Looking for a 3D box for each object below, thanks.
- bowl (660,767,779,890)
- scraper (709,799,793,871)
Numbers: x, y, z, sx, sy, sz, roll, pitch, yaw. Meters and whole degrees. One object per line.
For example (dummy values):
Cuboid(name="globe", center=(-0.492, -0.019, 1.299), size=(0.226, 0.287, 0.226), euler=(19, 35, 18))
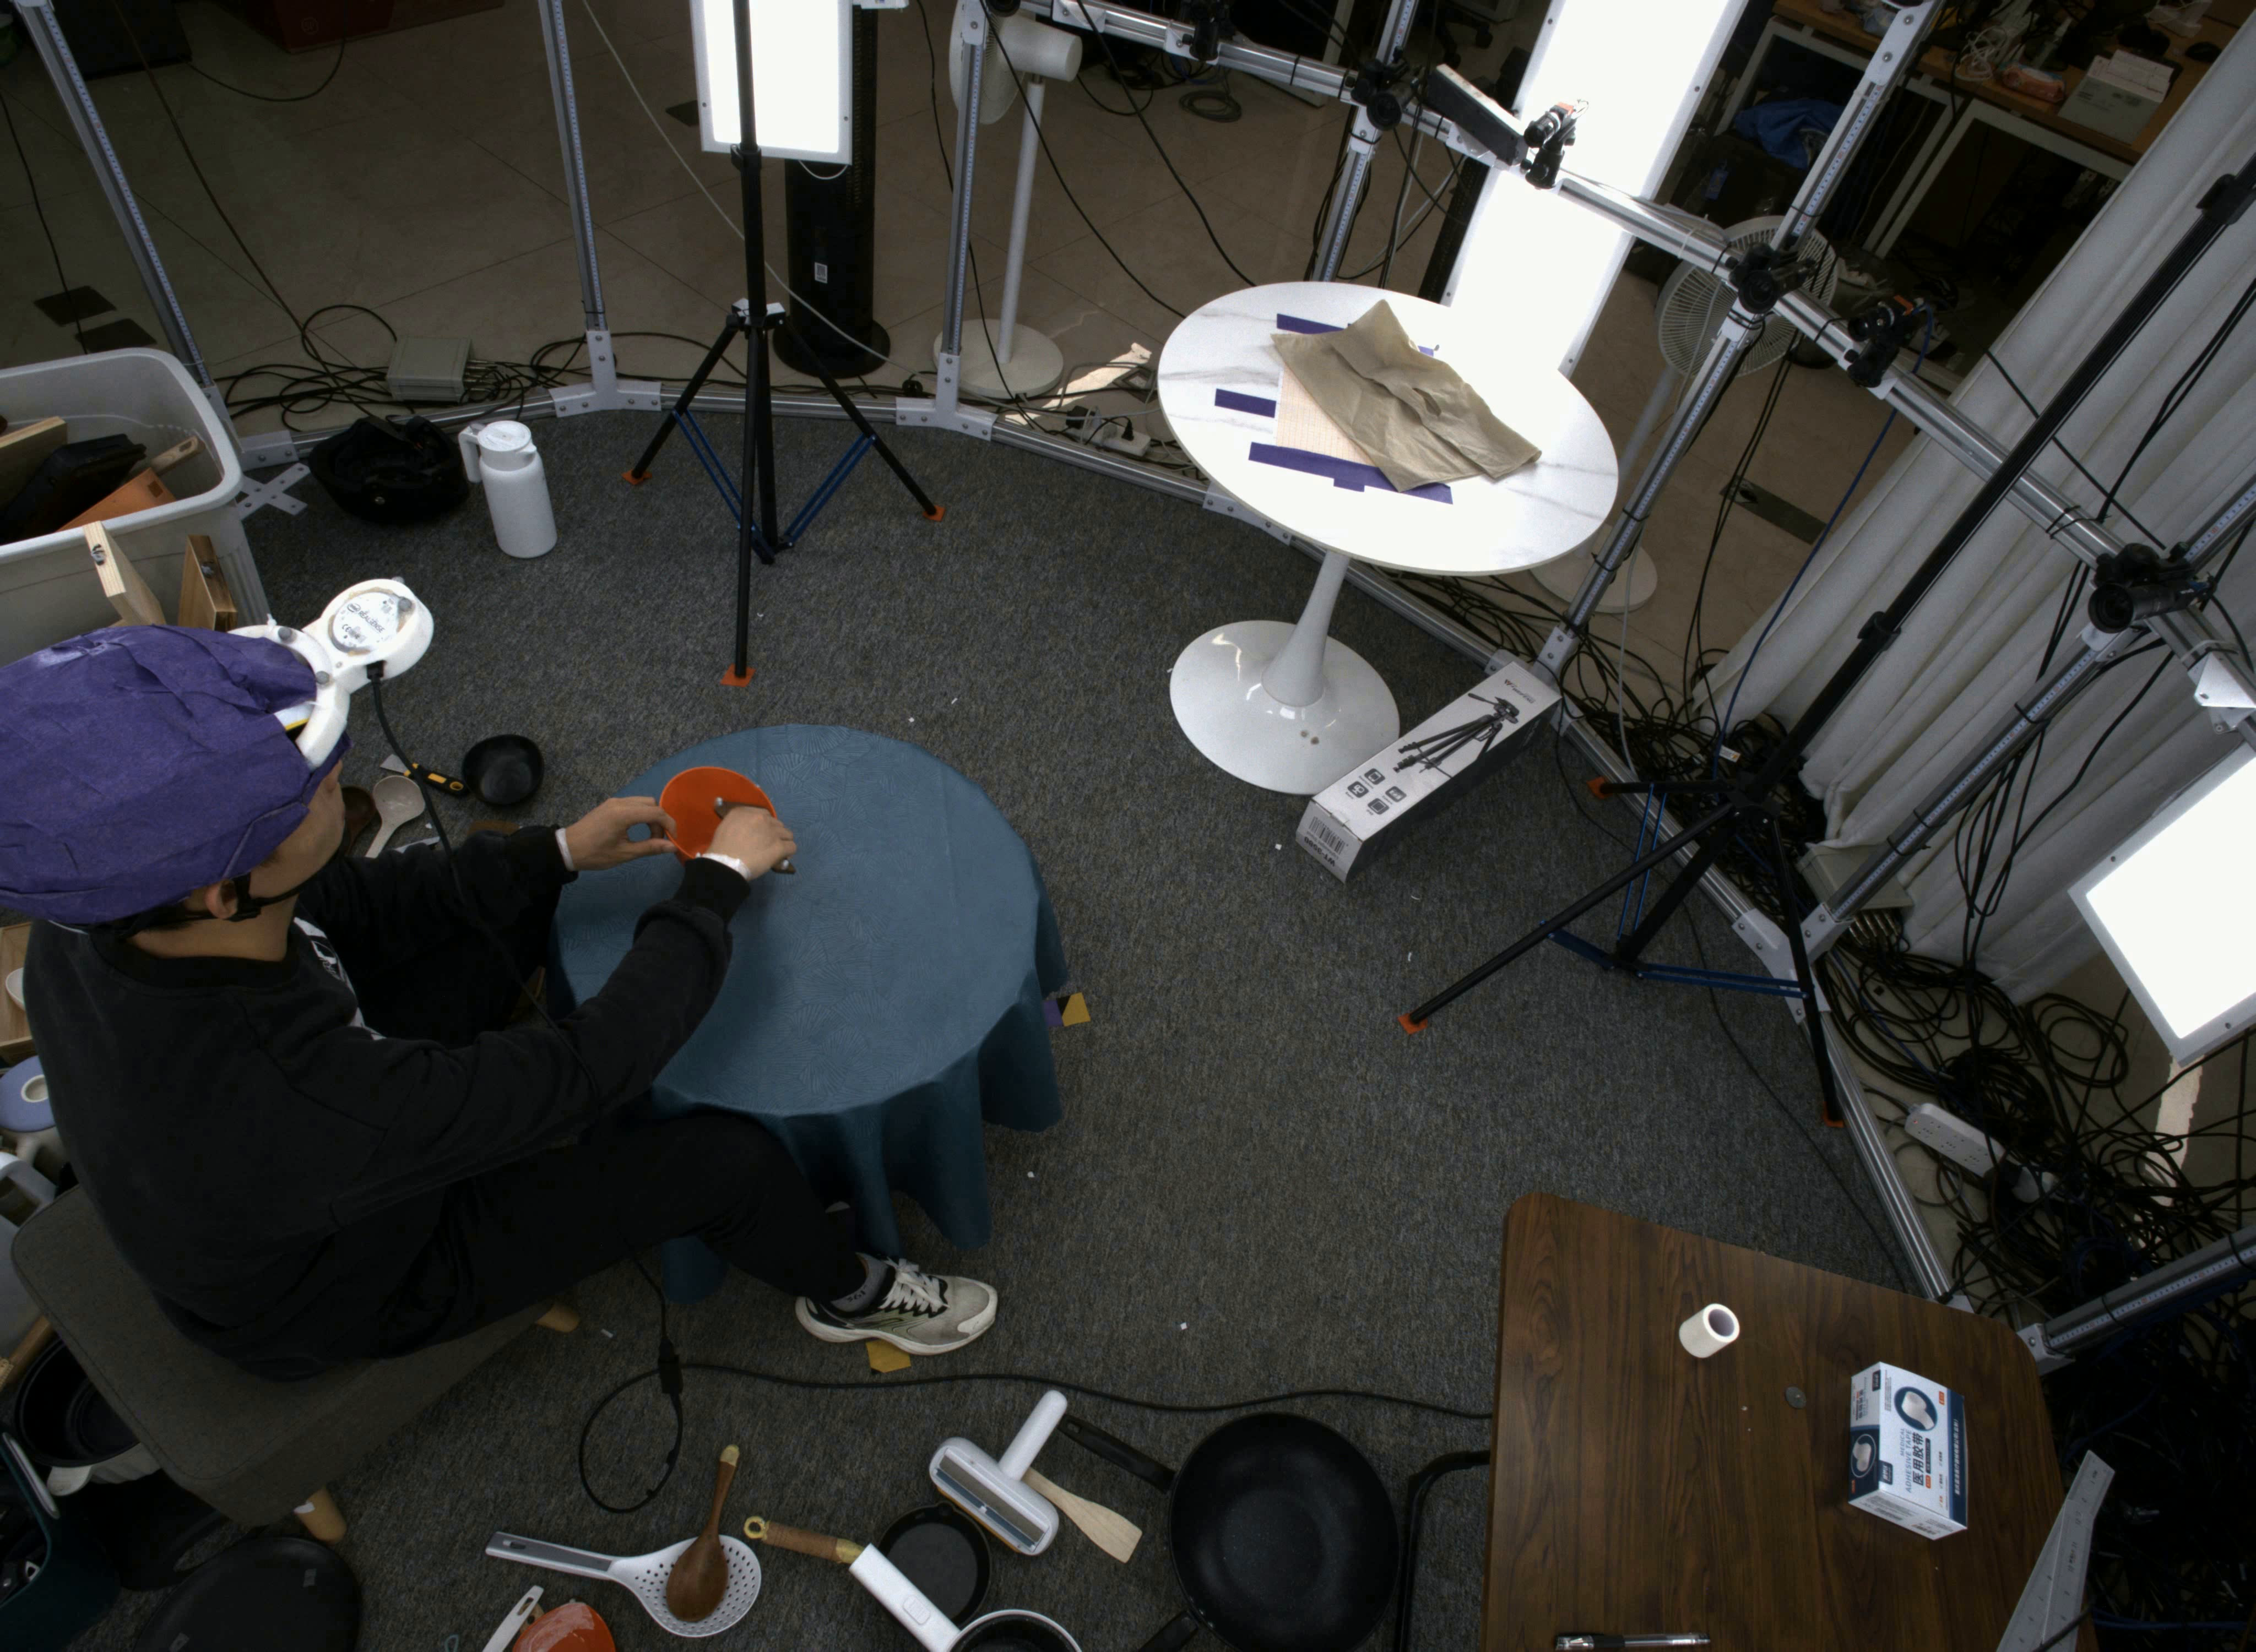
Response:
Cuboid(name="bowl", center=(-0.517, 0.013, 1.621), size=(0.149, 0.106, 0.145), euler=(17, 45, -16))
Cuboid(name="scraper", center=(-0.444, 0.009, 1.553), size=(0.077, 0.011, 0.203), euler=(6, 19, -35))
